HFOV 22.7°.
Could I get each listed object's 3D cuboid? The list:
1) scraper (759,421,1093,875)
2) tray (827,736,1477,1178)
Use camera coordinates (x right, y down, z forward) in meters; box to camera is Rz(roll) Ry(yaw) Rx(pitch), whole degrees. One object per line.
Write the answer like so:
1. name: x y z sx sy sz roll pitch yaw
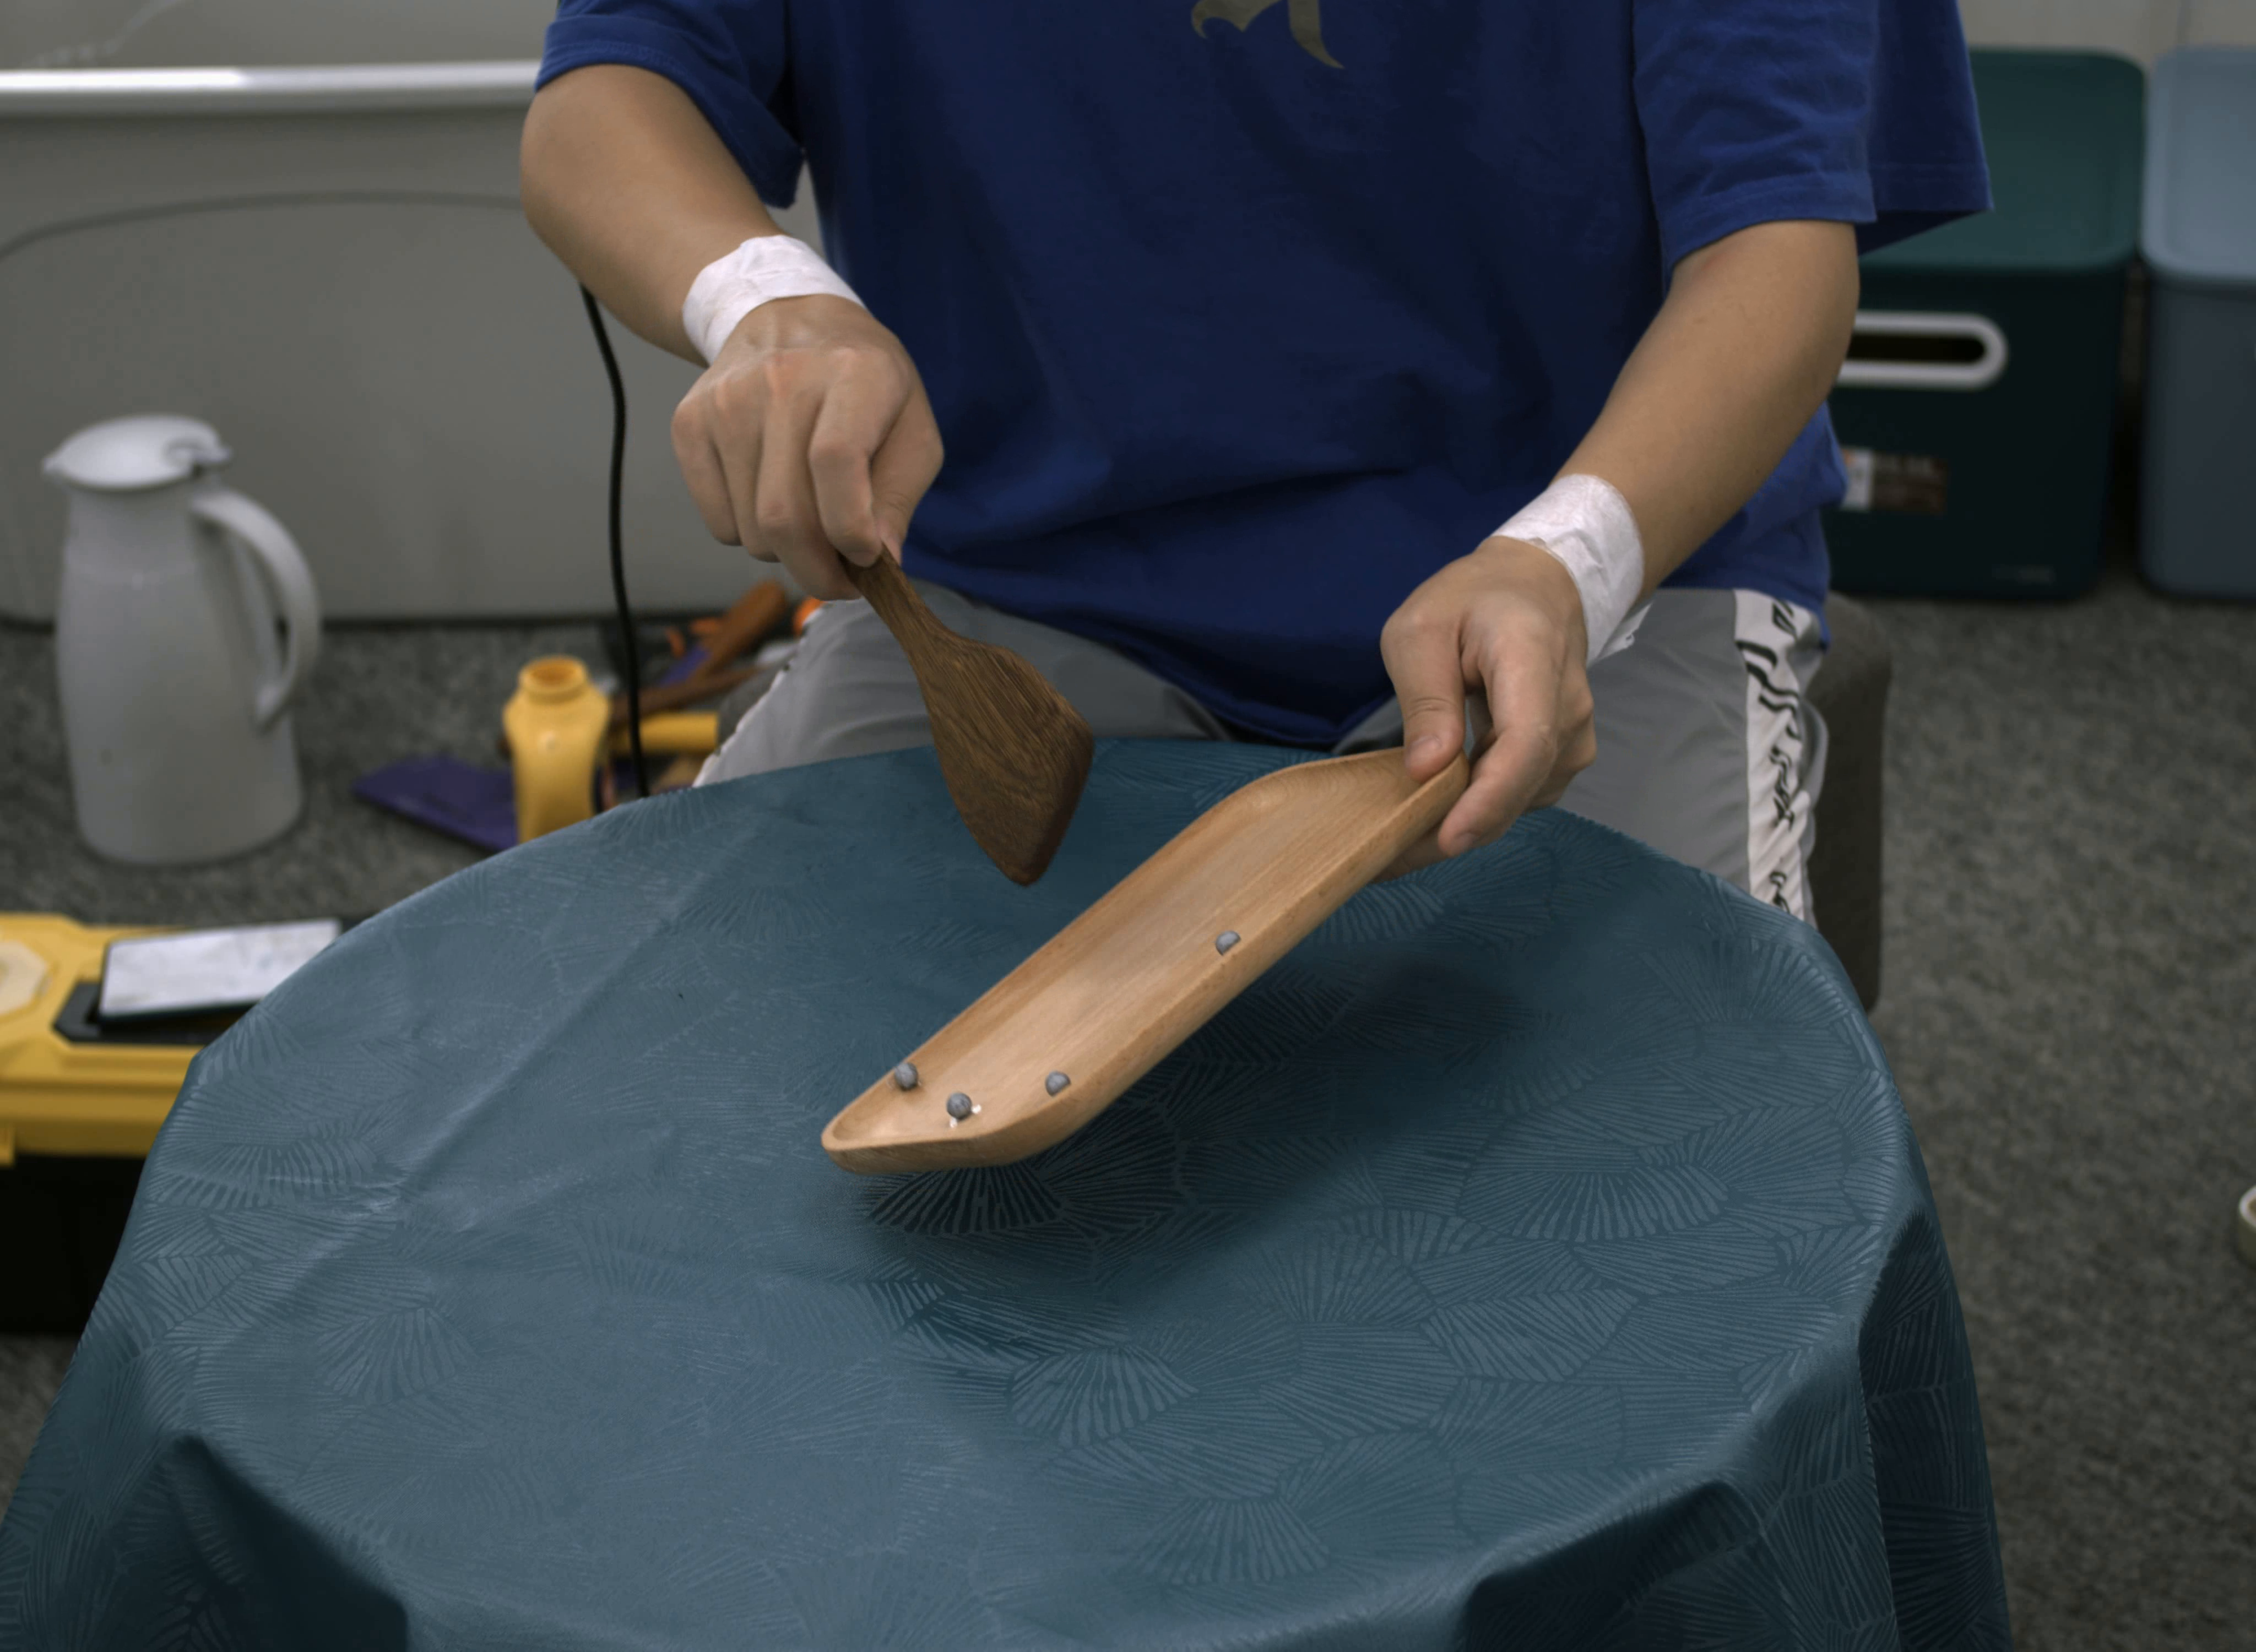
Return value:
1. scraper: -0.076 -0.071 1.937 0.011 0.075 0.213 -3 39 -36
2. tray: 0.011 0.044 1.885 0.129 0.023 0.254 -6 26 50
